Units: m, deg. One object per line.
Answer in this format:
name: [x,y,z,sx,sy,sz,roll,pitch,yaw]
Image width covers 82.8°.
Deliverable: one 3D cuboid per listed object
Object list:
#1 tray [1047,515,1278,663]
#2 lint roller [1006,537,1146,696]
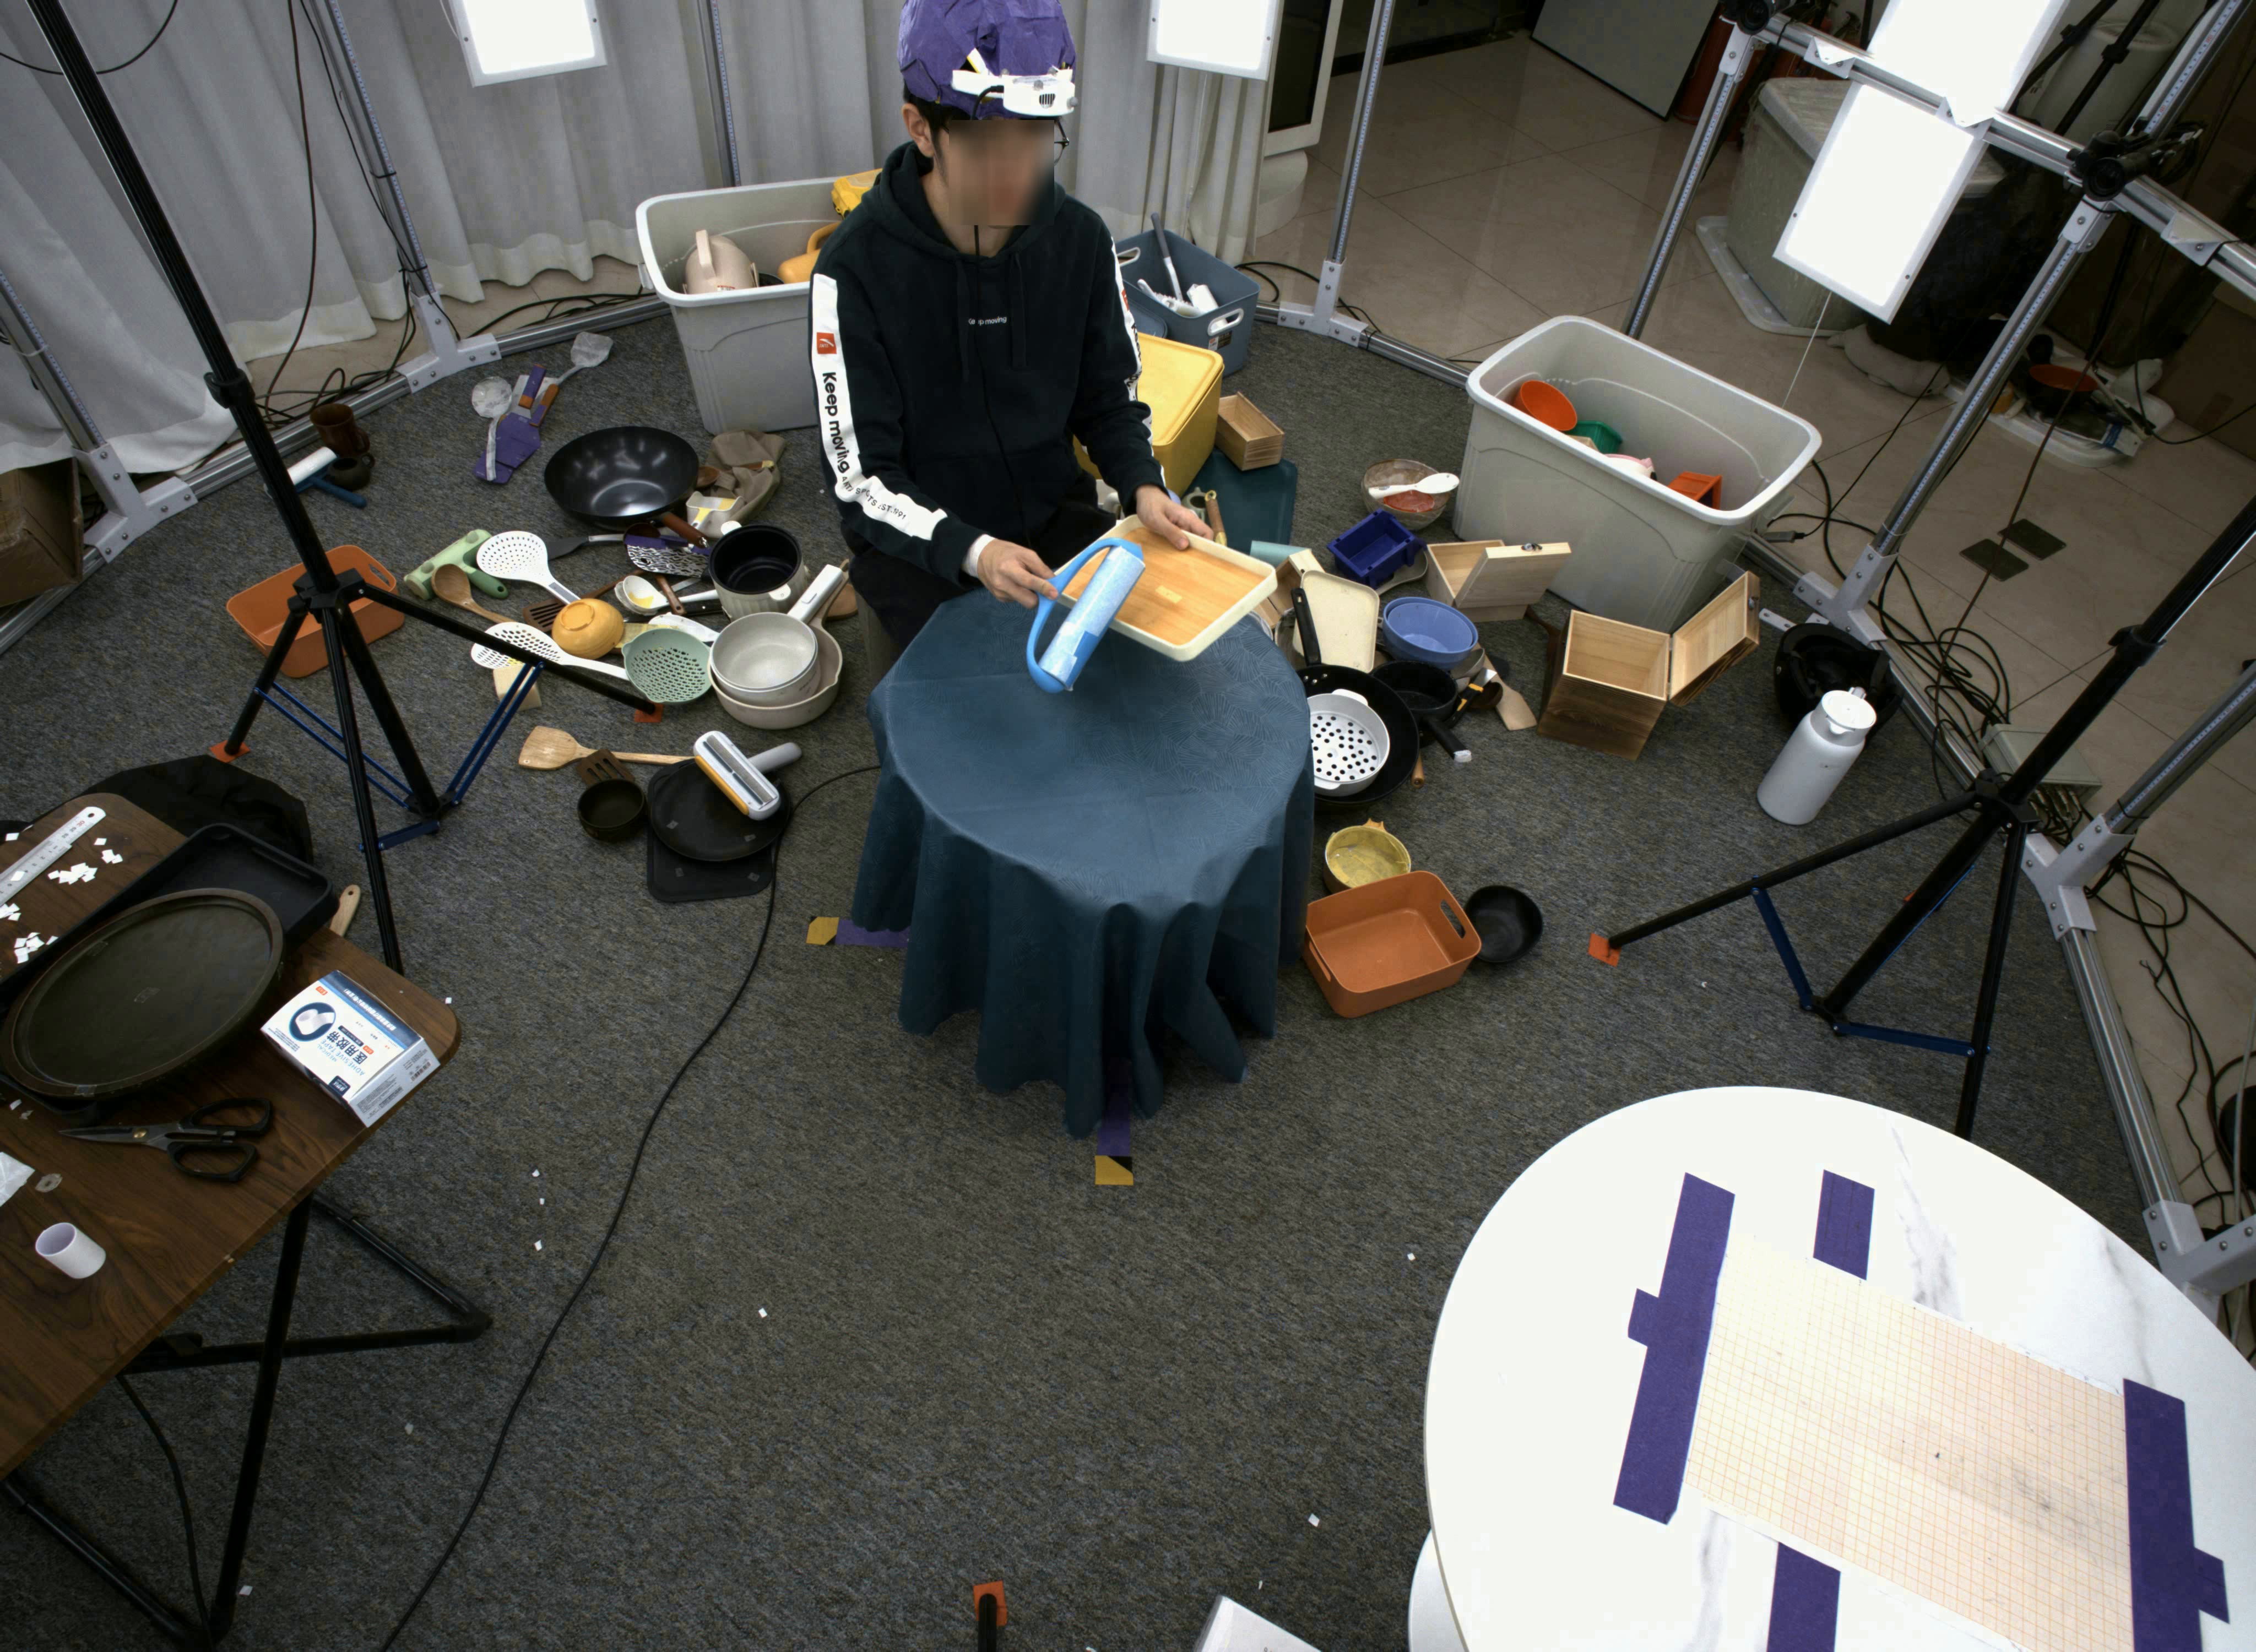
tray: [0.042,-0.334,1.780,0.193,0.027,0.305,-40,46,-19]
lint roller: [-0.097,-0.299,1.718,0.182,0.067,0.230,26,84,20]
